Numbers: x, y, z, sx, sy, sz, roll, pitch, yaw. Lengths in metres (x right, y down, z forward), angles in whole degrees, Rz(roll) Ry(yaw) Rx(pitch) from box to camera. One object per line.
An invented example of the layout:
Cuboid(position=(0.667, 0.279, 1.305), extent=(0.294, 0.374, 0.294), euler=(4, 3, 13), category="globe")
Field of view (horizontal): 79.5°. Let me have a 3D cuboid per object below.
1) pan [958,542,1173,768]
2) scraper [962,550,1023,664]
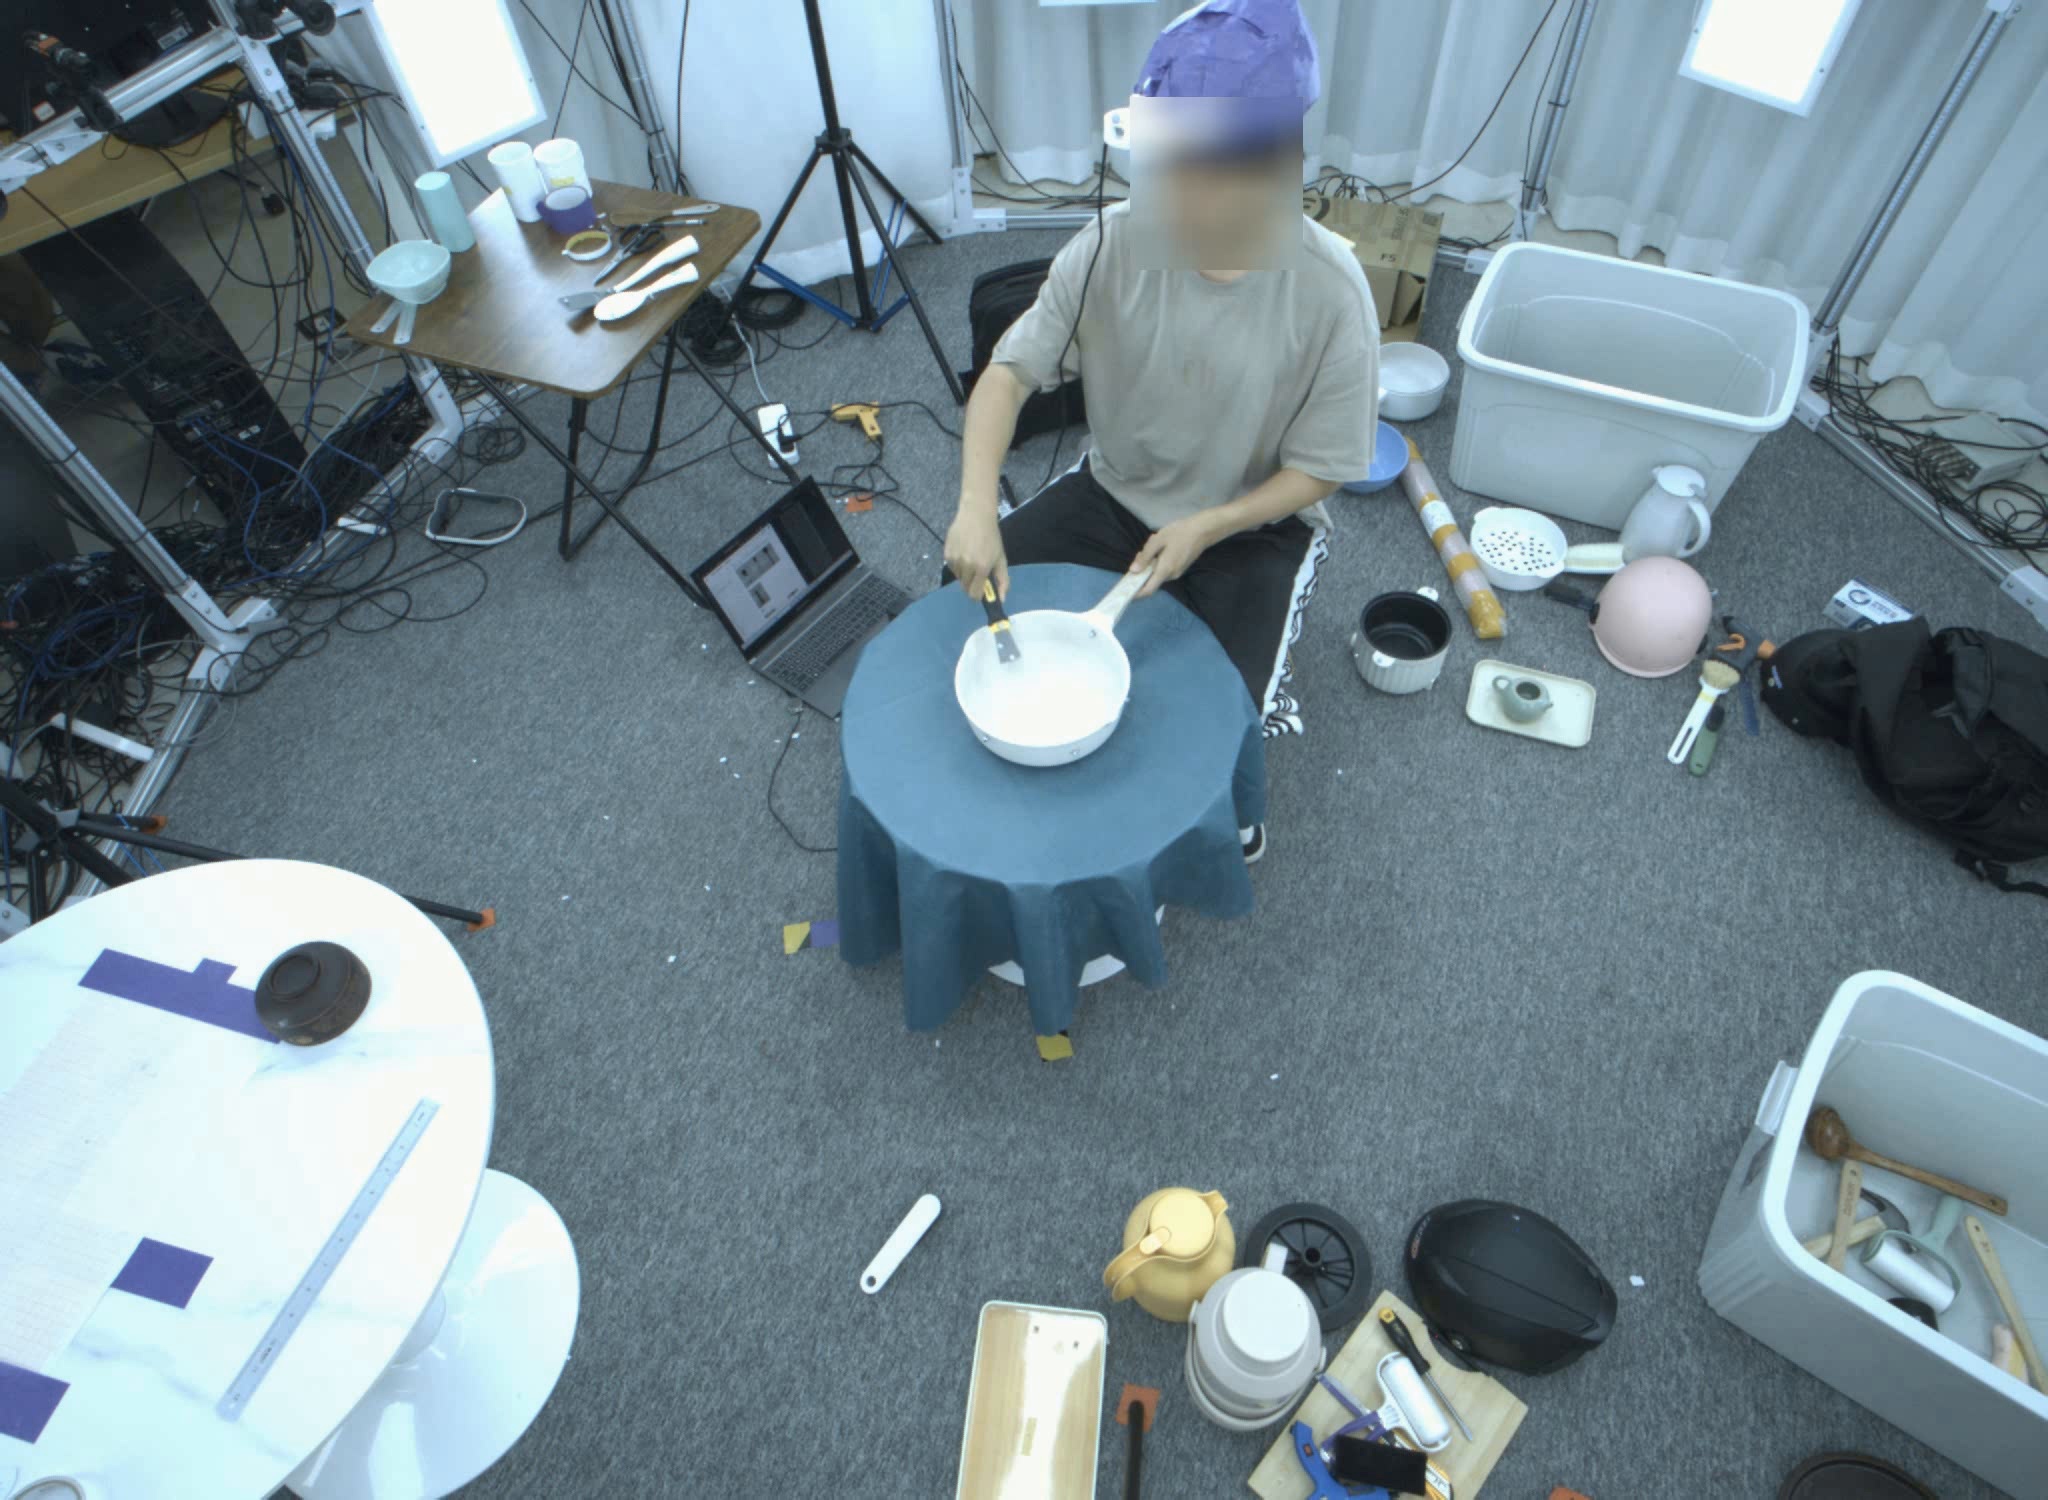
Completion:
Cuboid(position=(0.091, -0.145, 1.825), extent=(0.258, 0.103, 0.437), euler=(31, 62, 25), category="pan")
Cuboid(position=(-0.049, -0.207, 1.770), extent=(0.039, 0.172, 0.015), euler=(-23, 13, -6), category="scraper")
